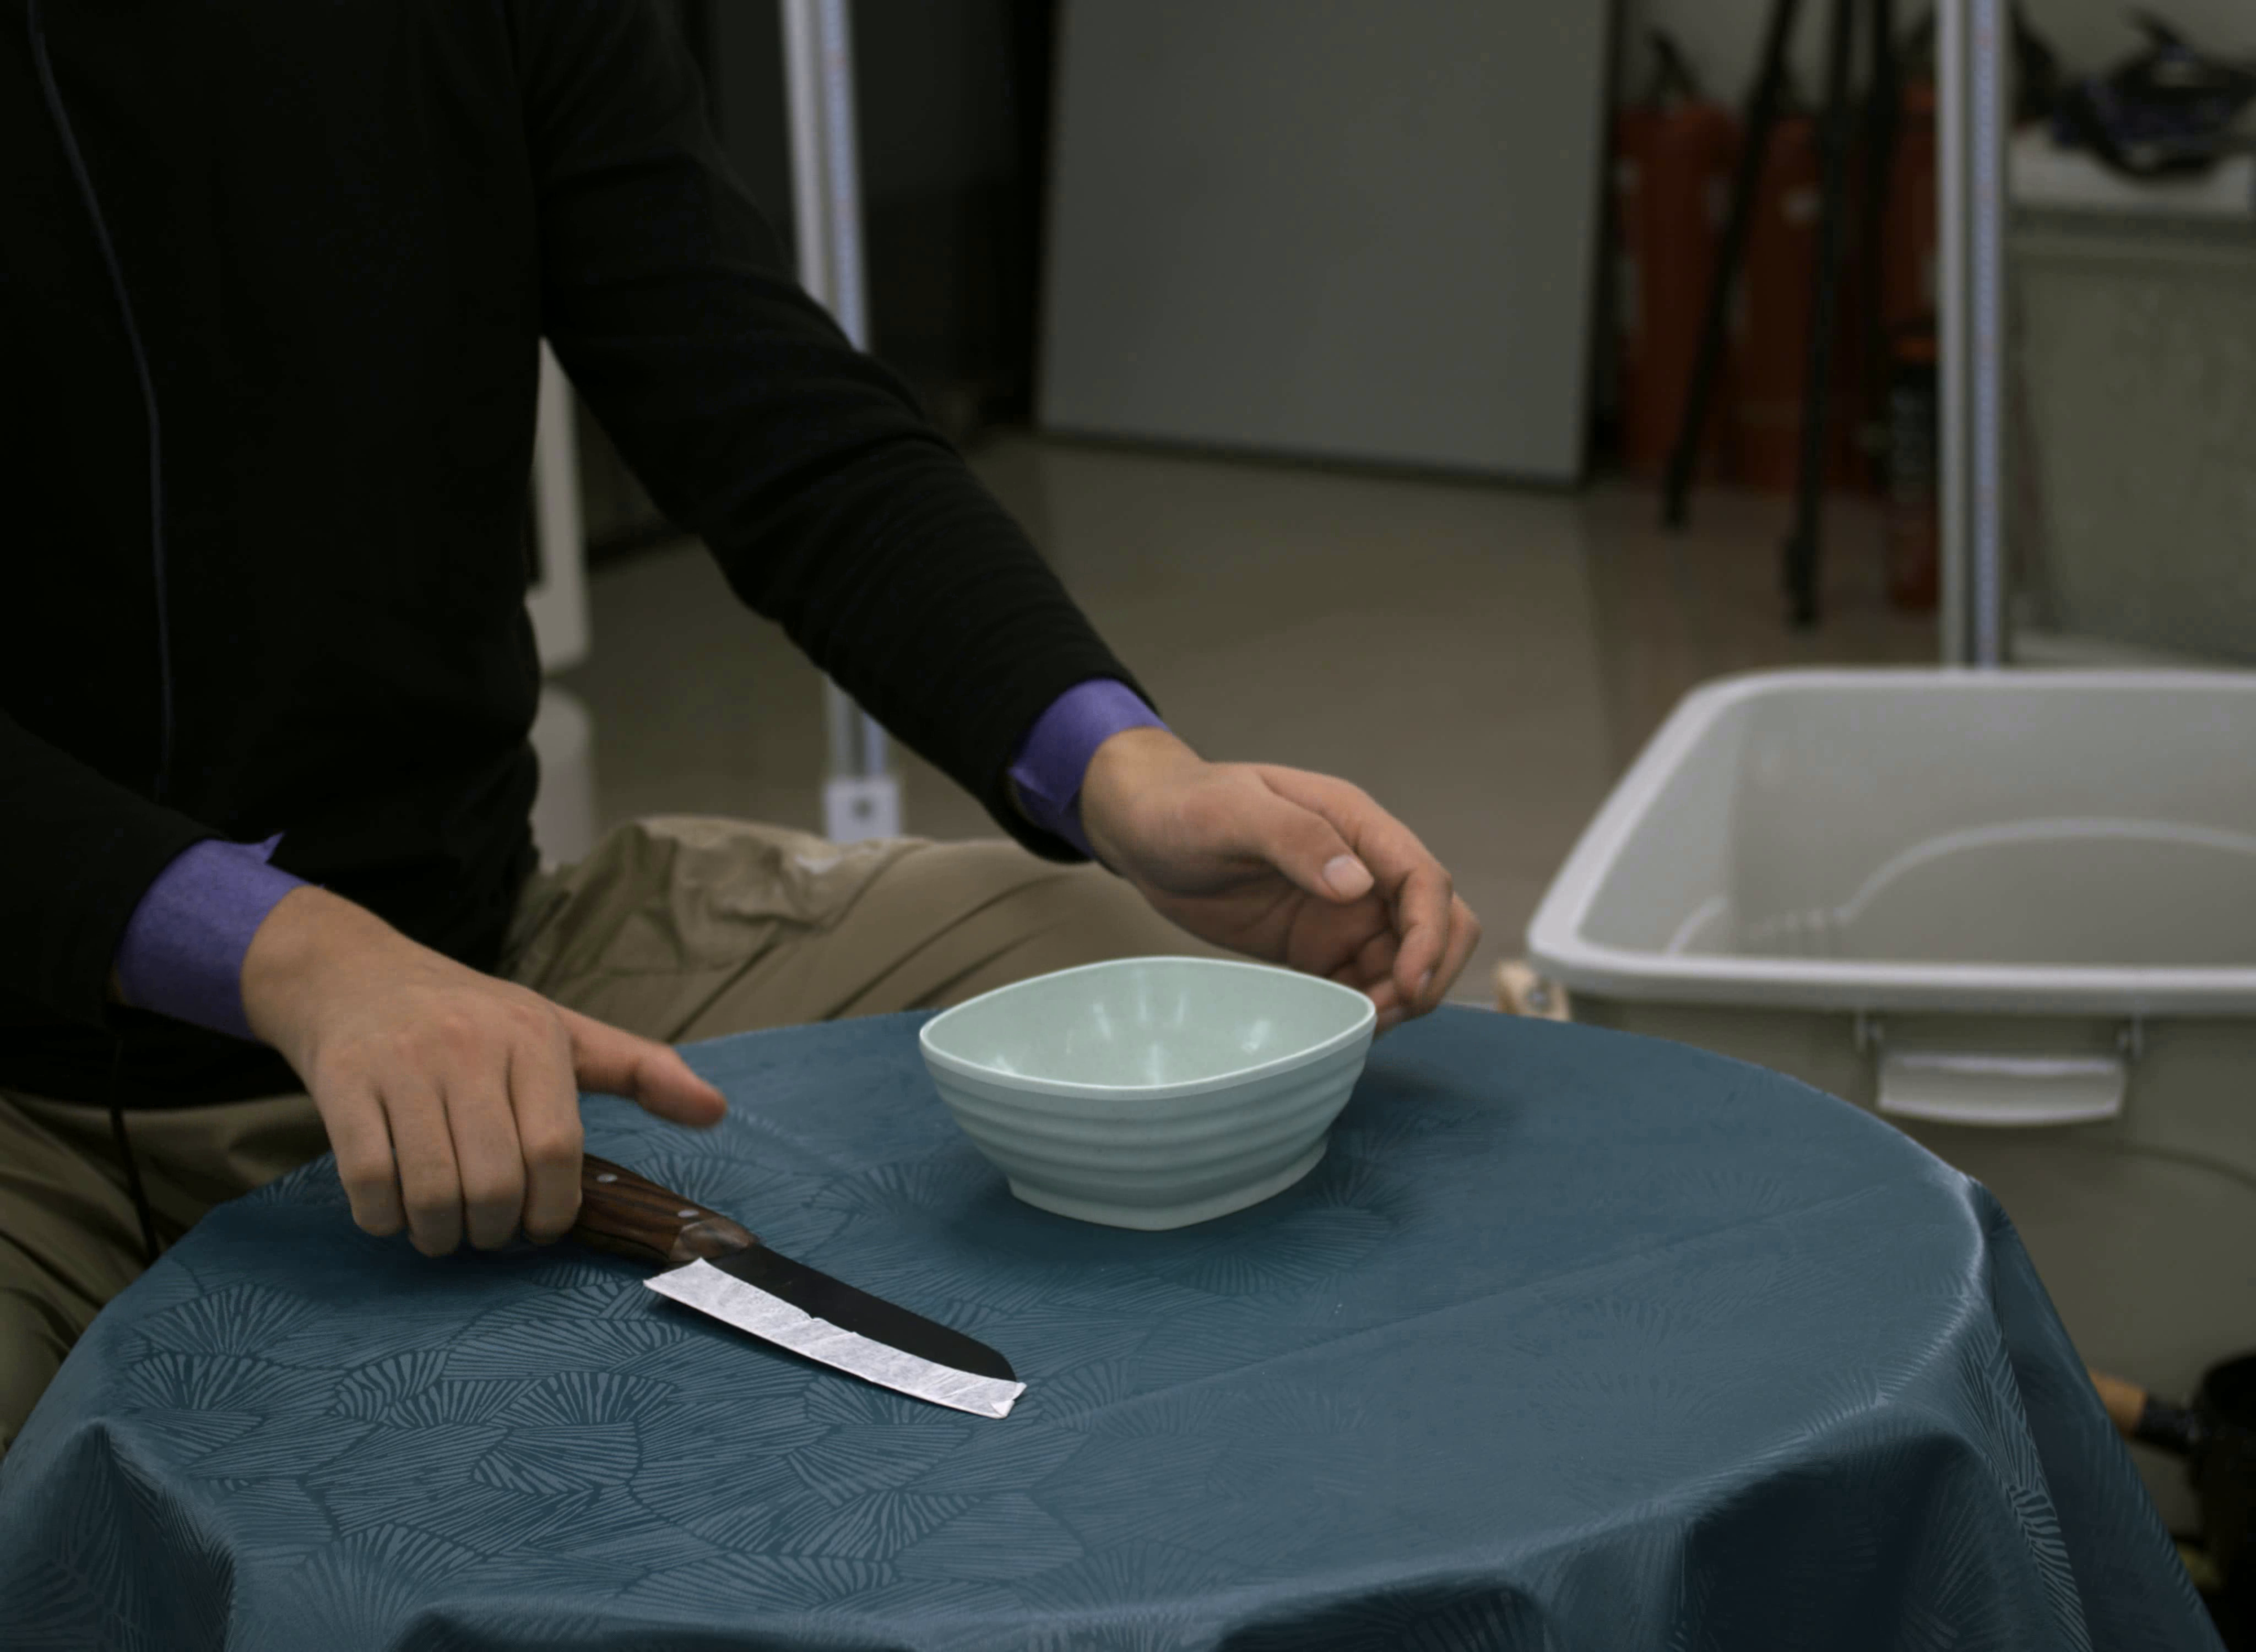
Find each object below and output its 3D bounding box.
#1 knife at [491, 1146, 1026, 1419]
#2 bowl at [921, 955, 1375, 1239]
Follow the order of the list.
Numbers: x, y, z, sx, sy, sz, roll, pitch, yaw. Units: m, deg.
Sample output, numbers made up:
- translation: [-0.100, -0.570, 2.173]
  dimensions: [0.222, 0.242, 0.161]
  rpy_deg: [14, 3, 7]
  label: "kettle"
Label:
- translation: [-0.119, 0.144, 1.690]
  dimensions: [0.049, 0.020, 0.292]
  rpy_deg: [-18, 22, -33]
  label: "knife"
- translation: [0.008, 0.092, 1.774]
  dimensions: [0.149, 0.059, 0.152]
  rpy_deg: [-3, 15, 0]
  label: "bowl"
